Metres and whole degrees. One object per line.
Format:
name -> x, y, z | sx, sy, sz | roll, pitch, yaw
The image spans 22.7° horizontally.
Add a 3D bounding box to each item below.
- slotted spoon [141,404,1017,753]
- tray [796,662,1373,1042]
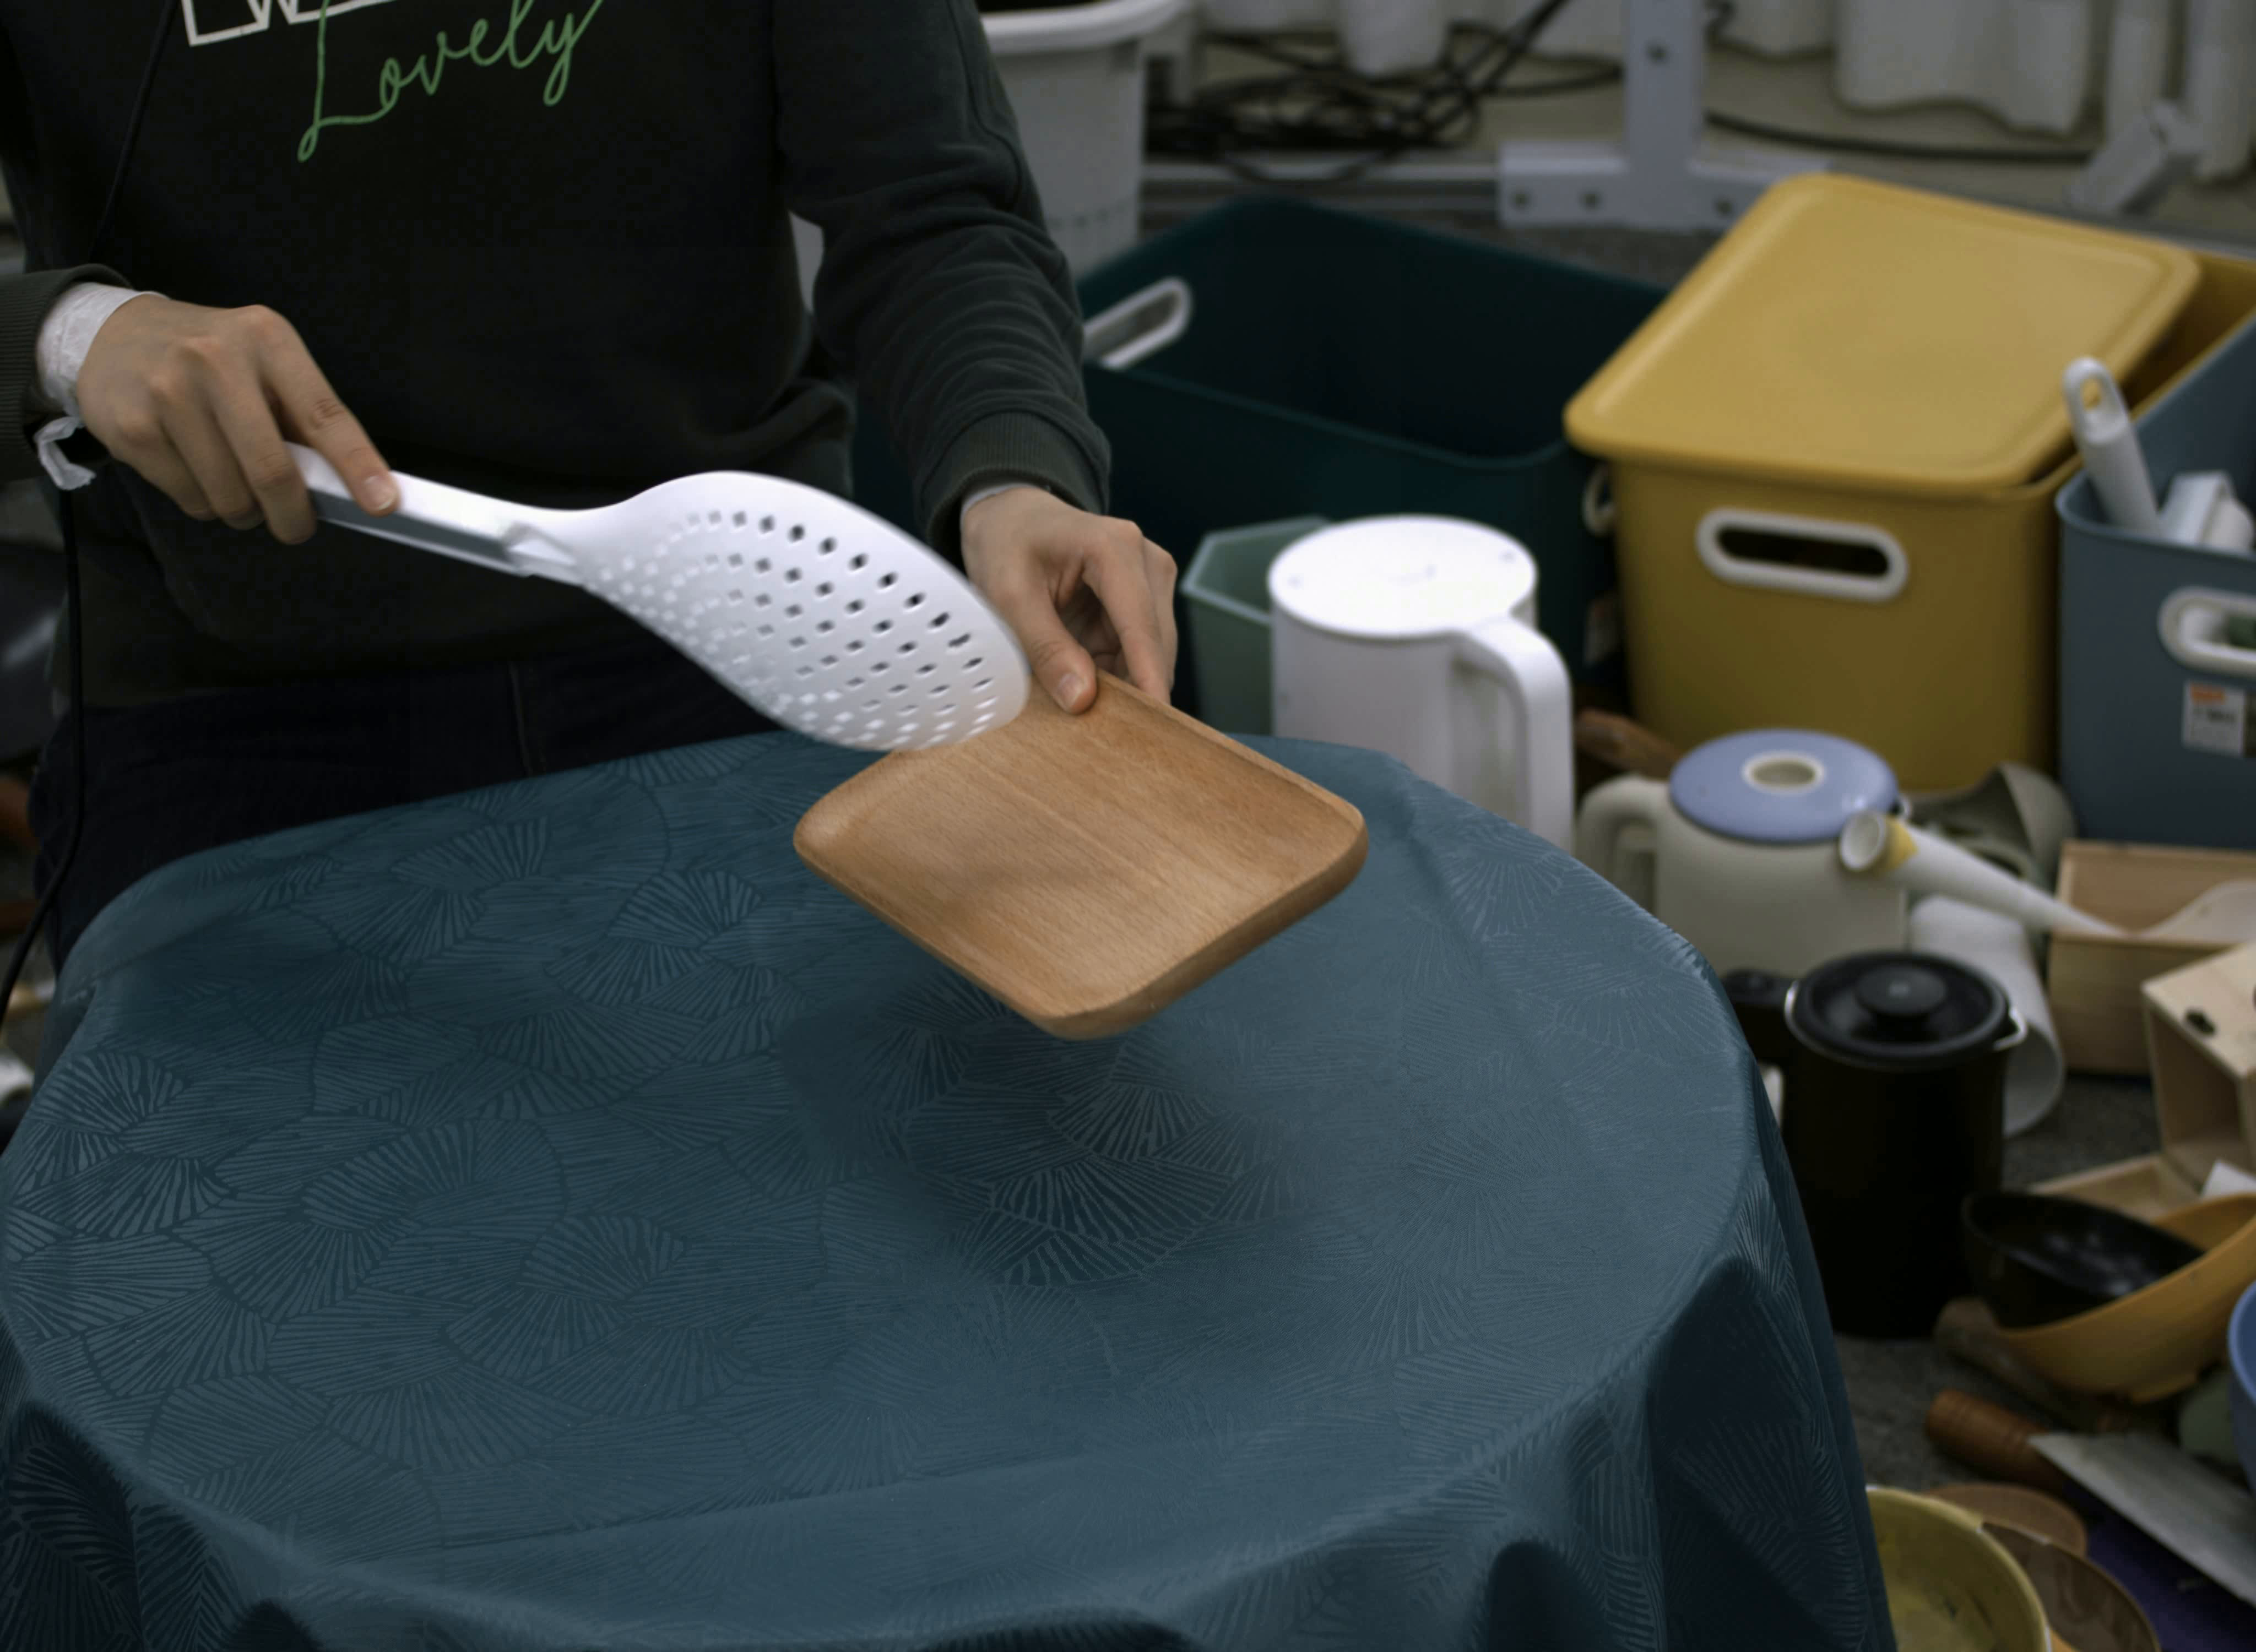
slotted spoon -> -0.191, -0.093, 1.878 | 0.348, 0.134, 0.046 | 20, 62, 30
tray -> -0.017, 0.007, 1.877 | 0.131, 0.023, 0.251 | -30, 25, -16
